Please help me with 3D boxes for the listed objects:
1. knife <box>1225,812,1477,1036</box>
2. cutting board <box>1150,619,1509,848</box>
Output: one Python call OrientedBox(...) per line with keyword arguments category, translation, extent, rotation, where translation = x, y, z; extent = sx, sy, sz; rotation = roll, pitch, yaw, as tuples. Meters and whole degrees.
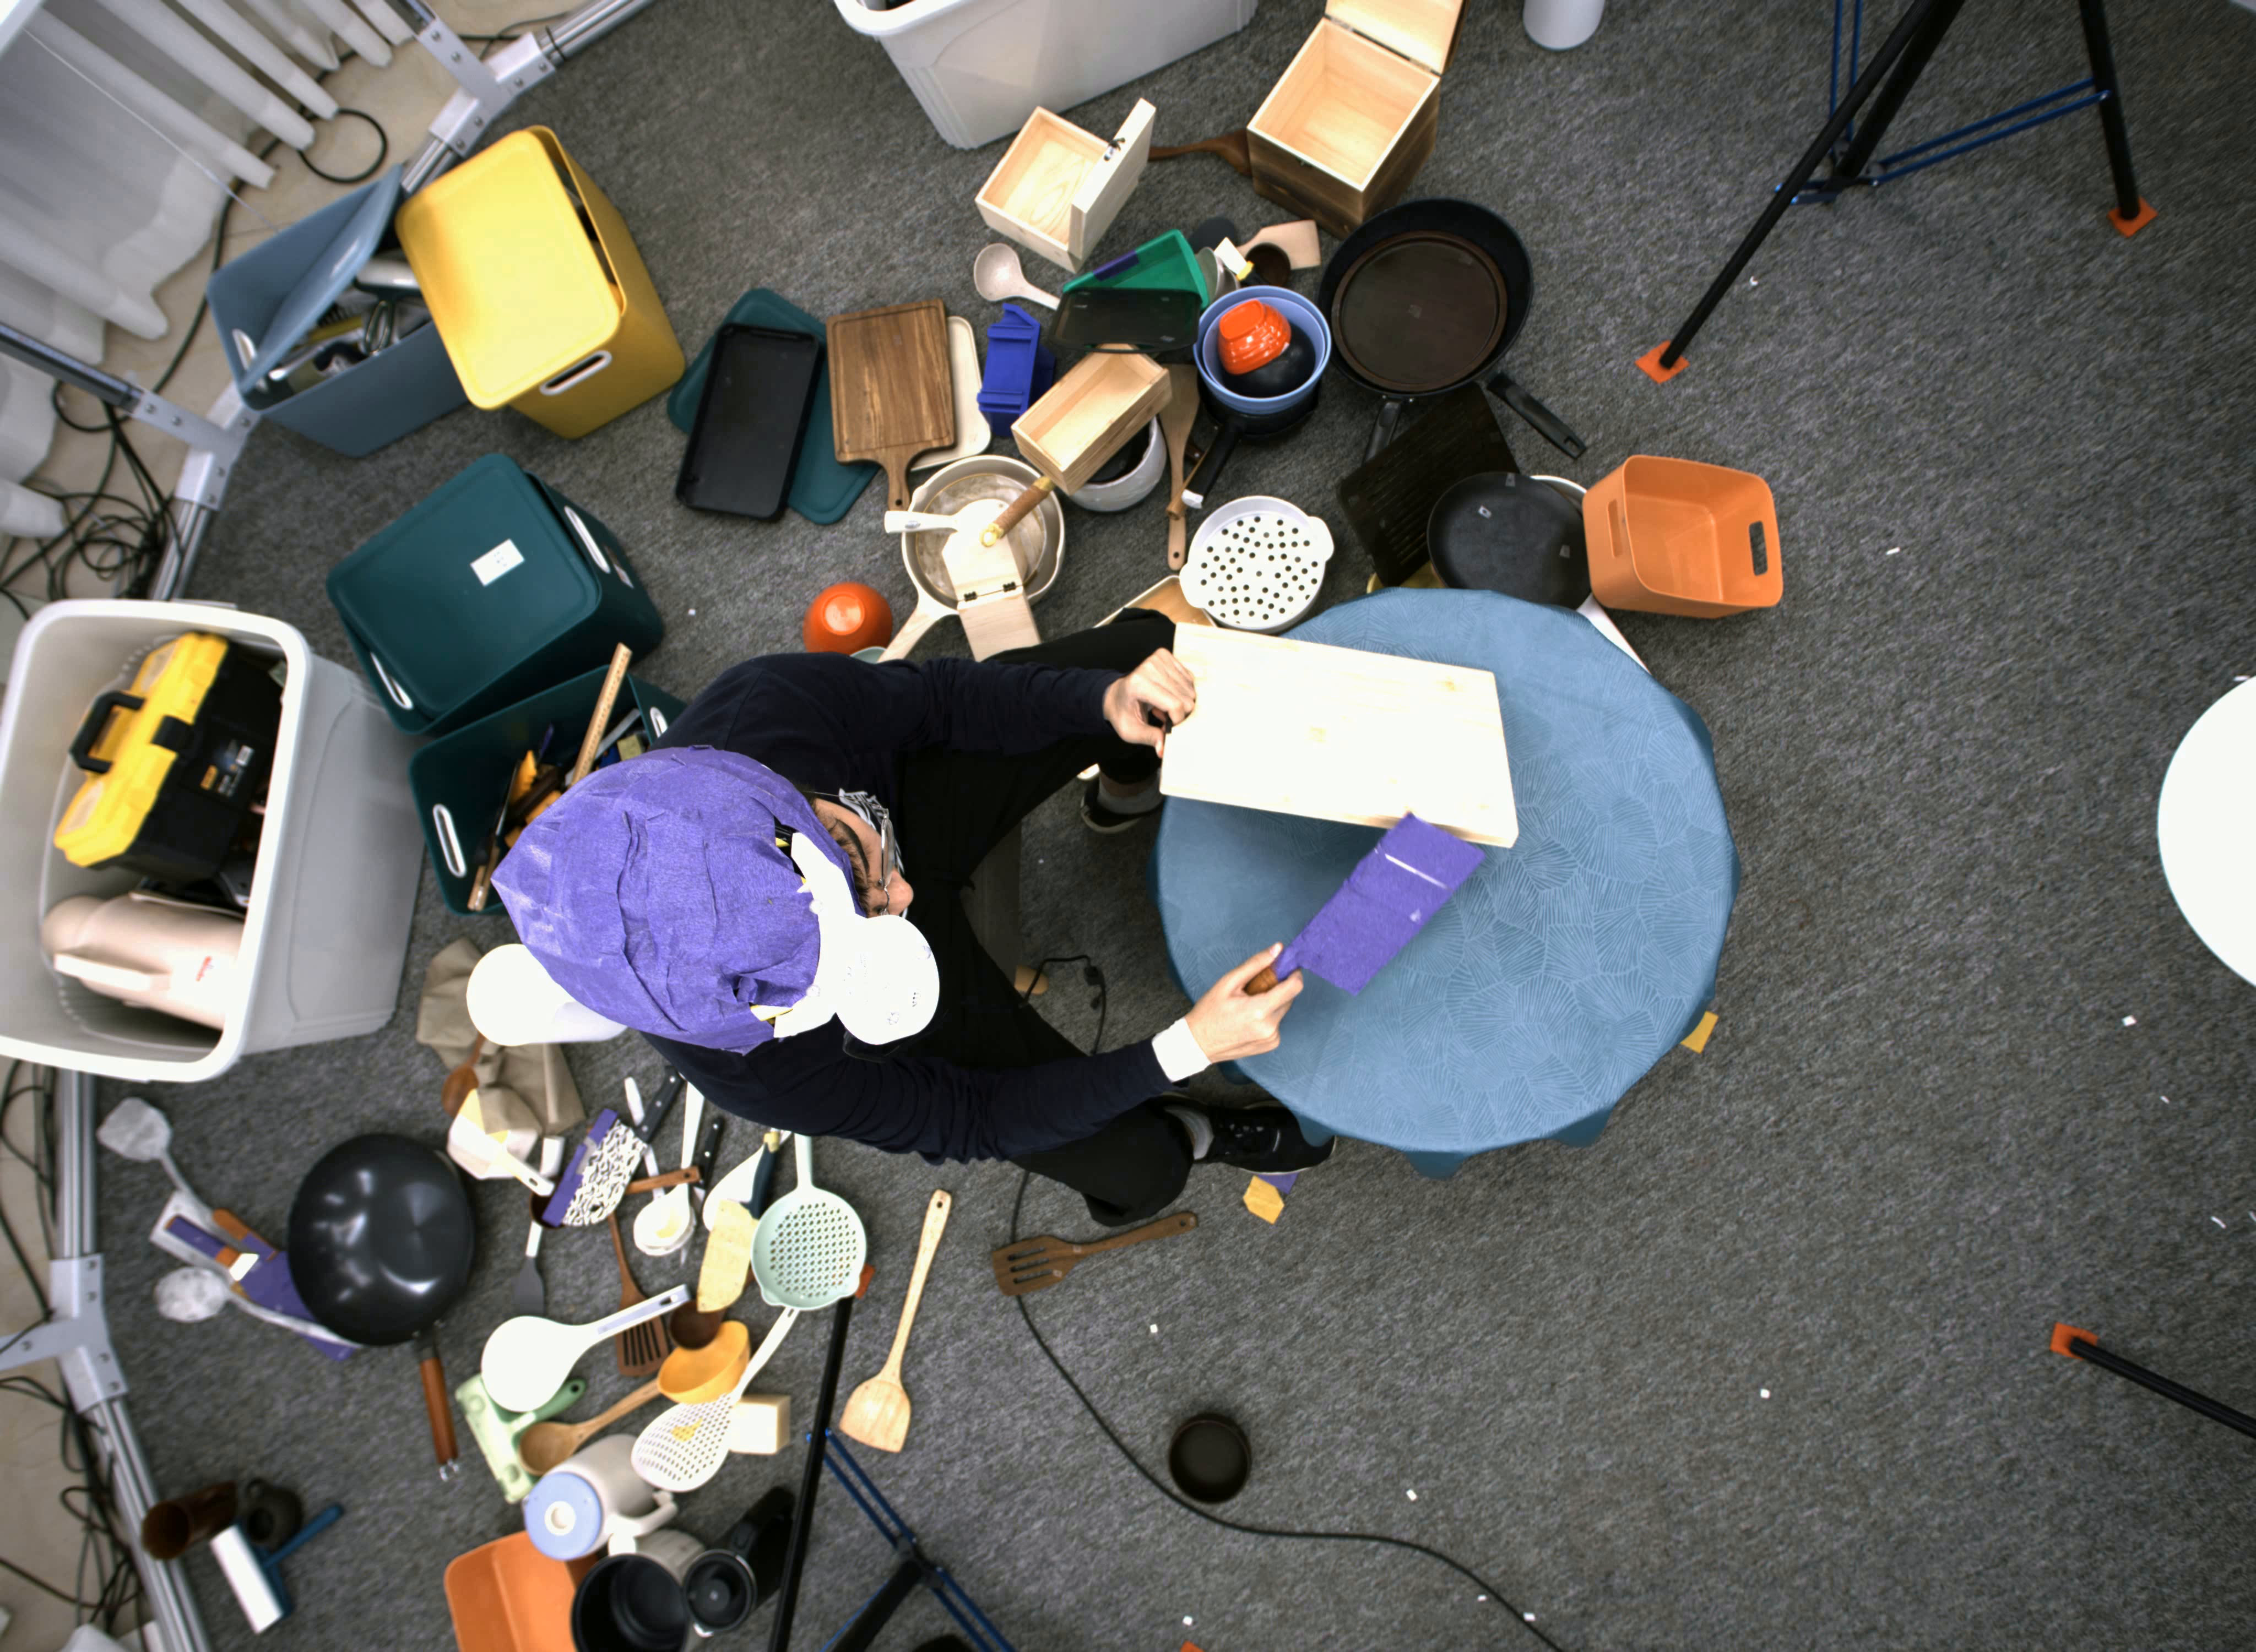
OrientedBox(category="knife", translation=(0.211, 0.114, 1.331), extent=(0.104, 0.031, 0.323), rotation=(28, 128, -11))
OrientedBox(category="cutting board", translation=(0.201, -0.098, 1.364), extent=(0.349, 0.024, 0.244), rotation=(8, 48, -2))
